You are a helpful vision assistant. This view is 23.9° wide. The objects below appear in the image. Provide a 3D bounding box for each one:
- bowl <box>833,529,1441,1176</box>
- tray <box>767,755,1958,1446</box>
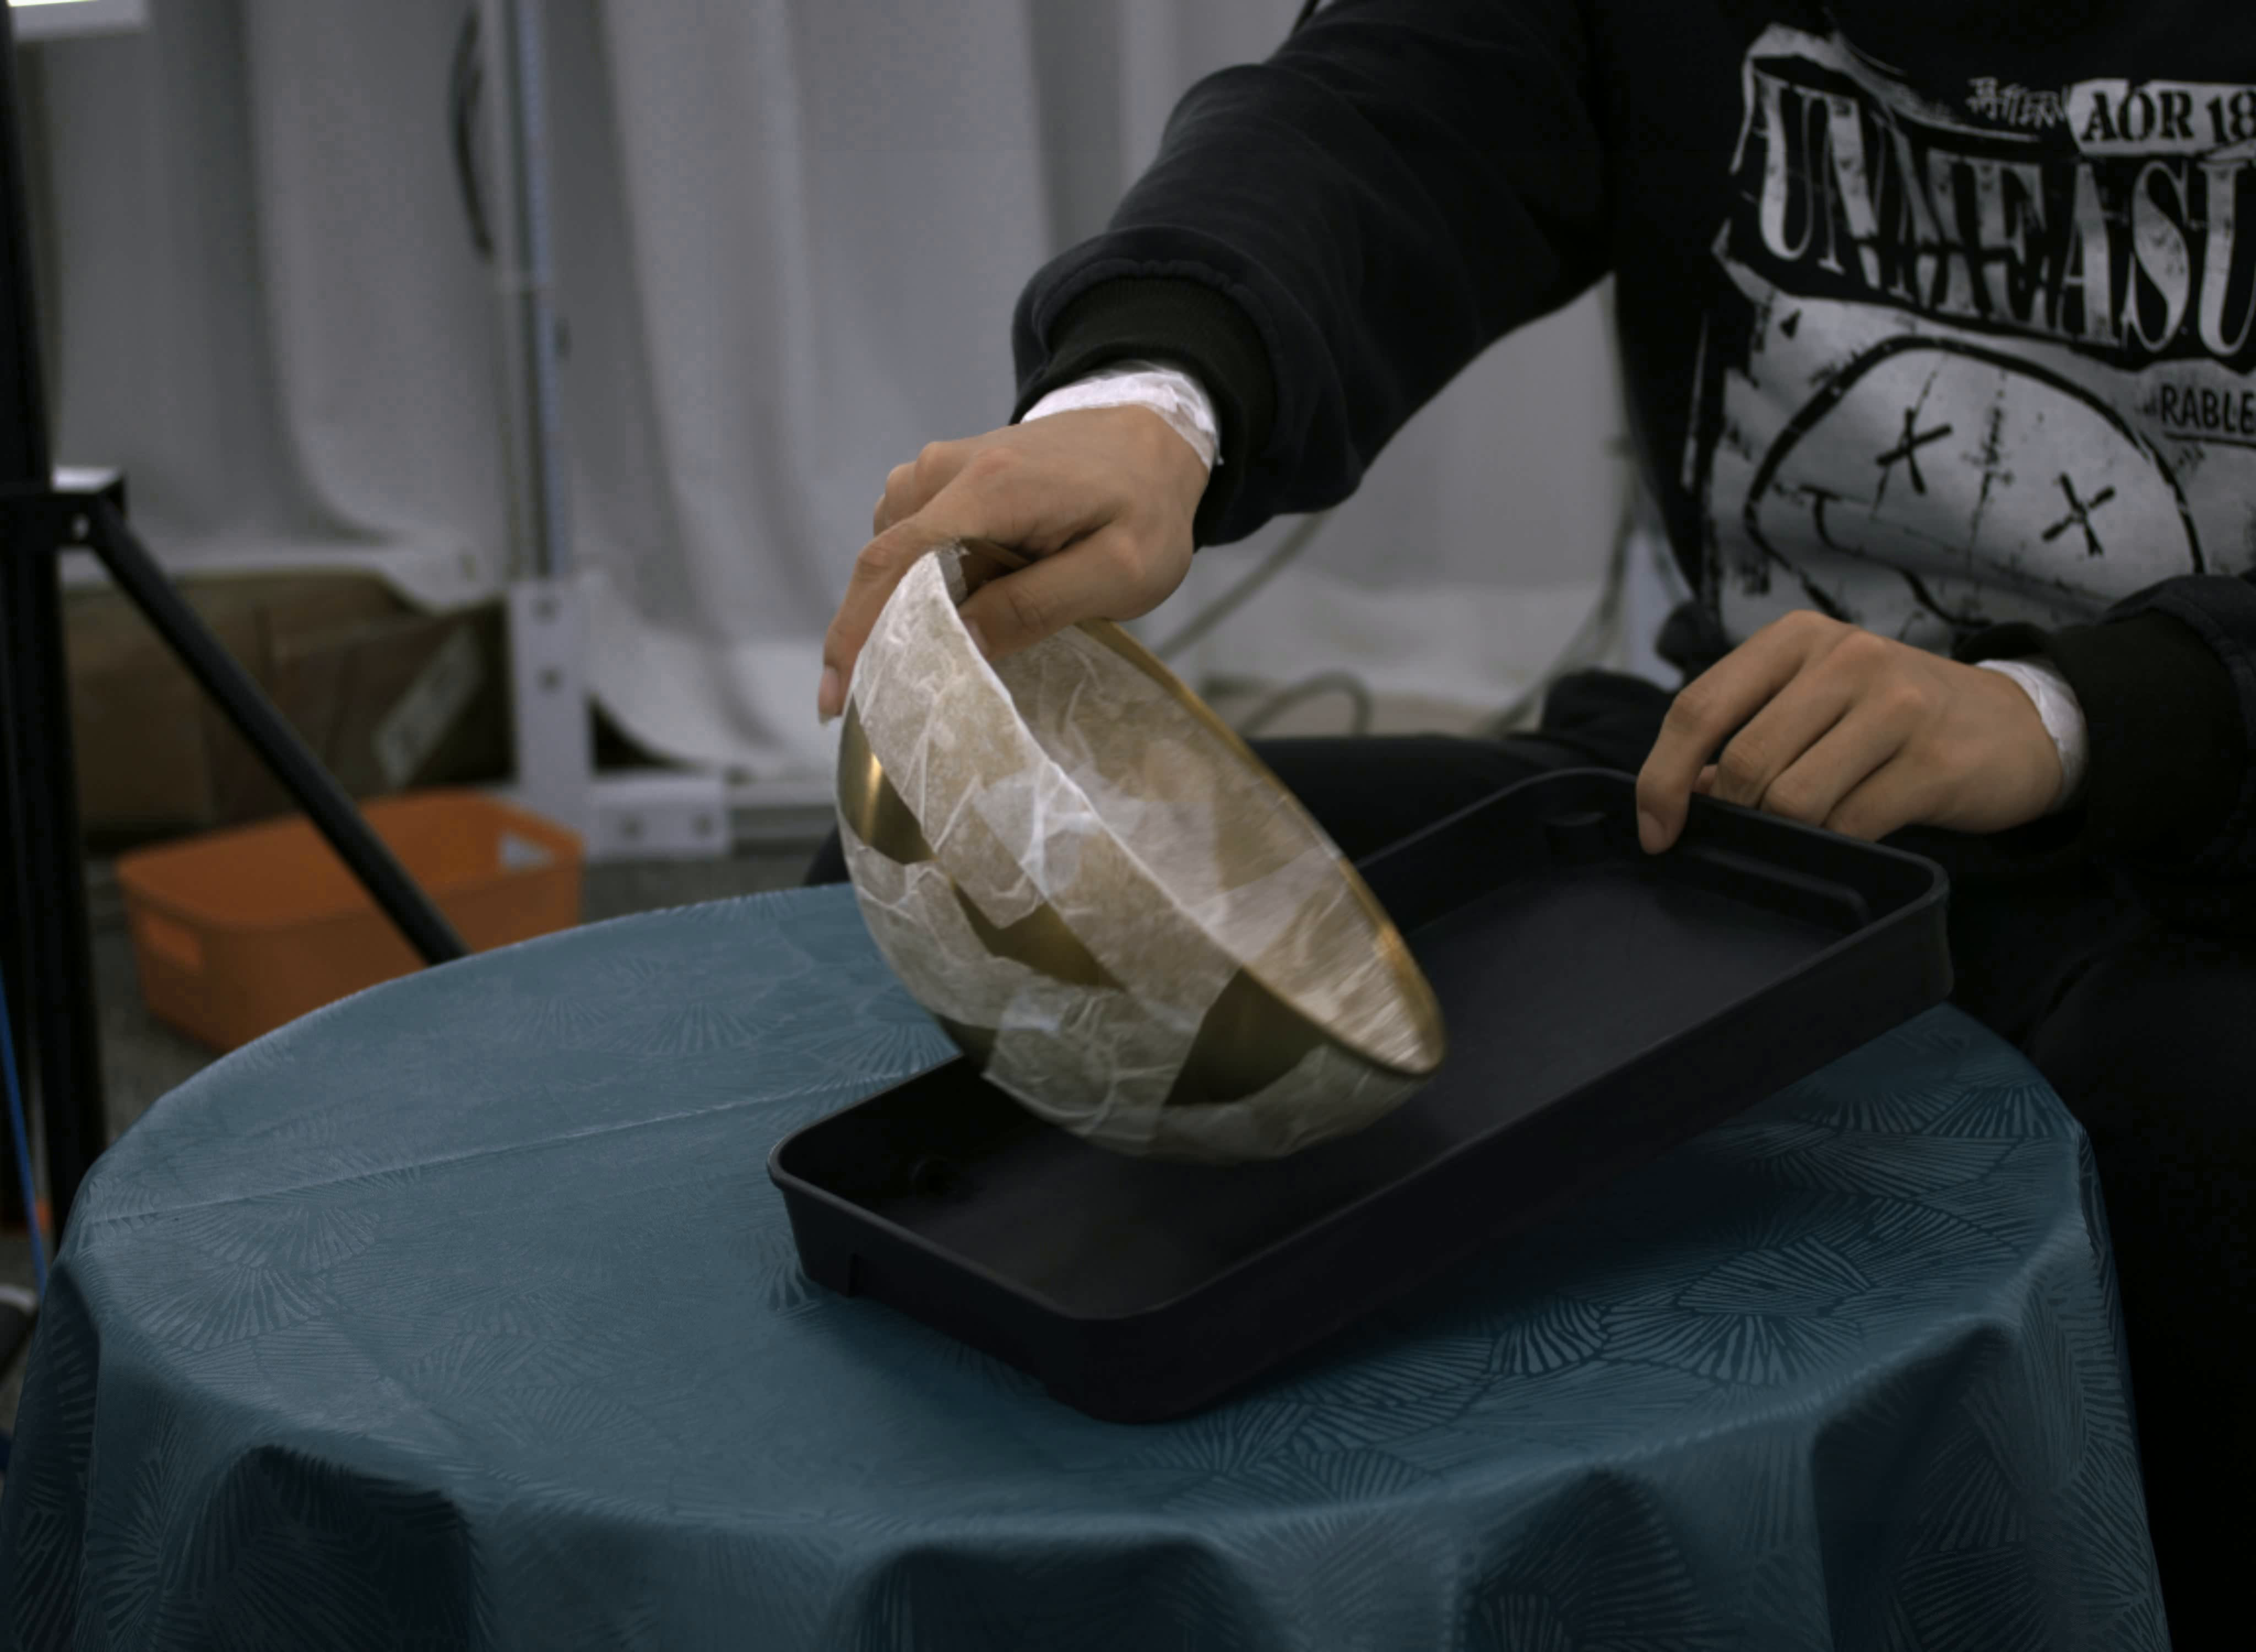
[{"bbox_3d":[-0.011,0.026,1.466,0.095,0.213,0.215,-42,10,12],"label":"bowl"},{"bbox_3d":[0.070,0.071,1.513,0.312,0.037,0.188,-26,26,-26],"label":"tray"}]
